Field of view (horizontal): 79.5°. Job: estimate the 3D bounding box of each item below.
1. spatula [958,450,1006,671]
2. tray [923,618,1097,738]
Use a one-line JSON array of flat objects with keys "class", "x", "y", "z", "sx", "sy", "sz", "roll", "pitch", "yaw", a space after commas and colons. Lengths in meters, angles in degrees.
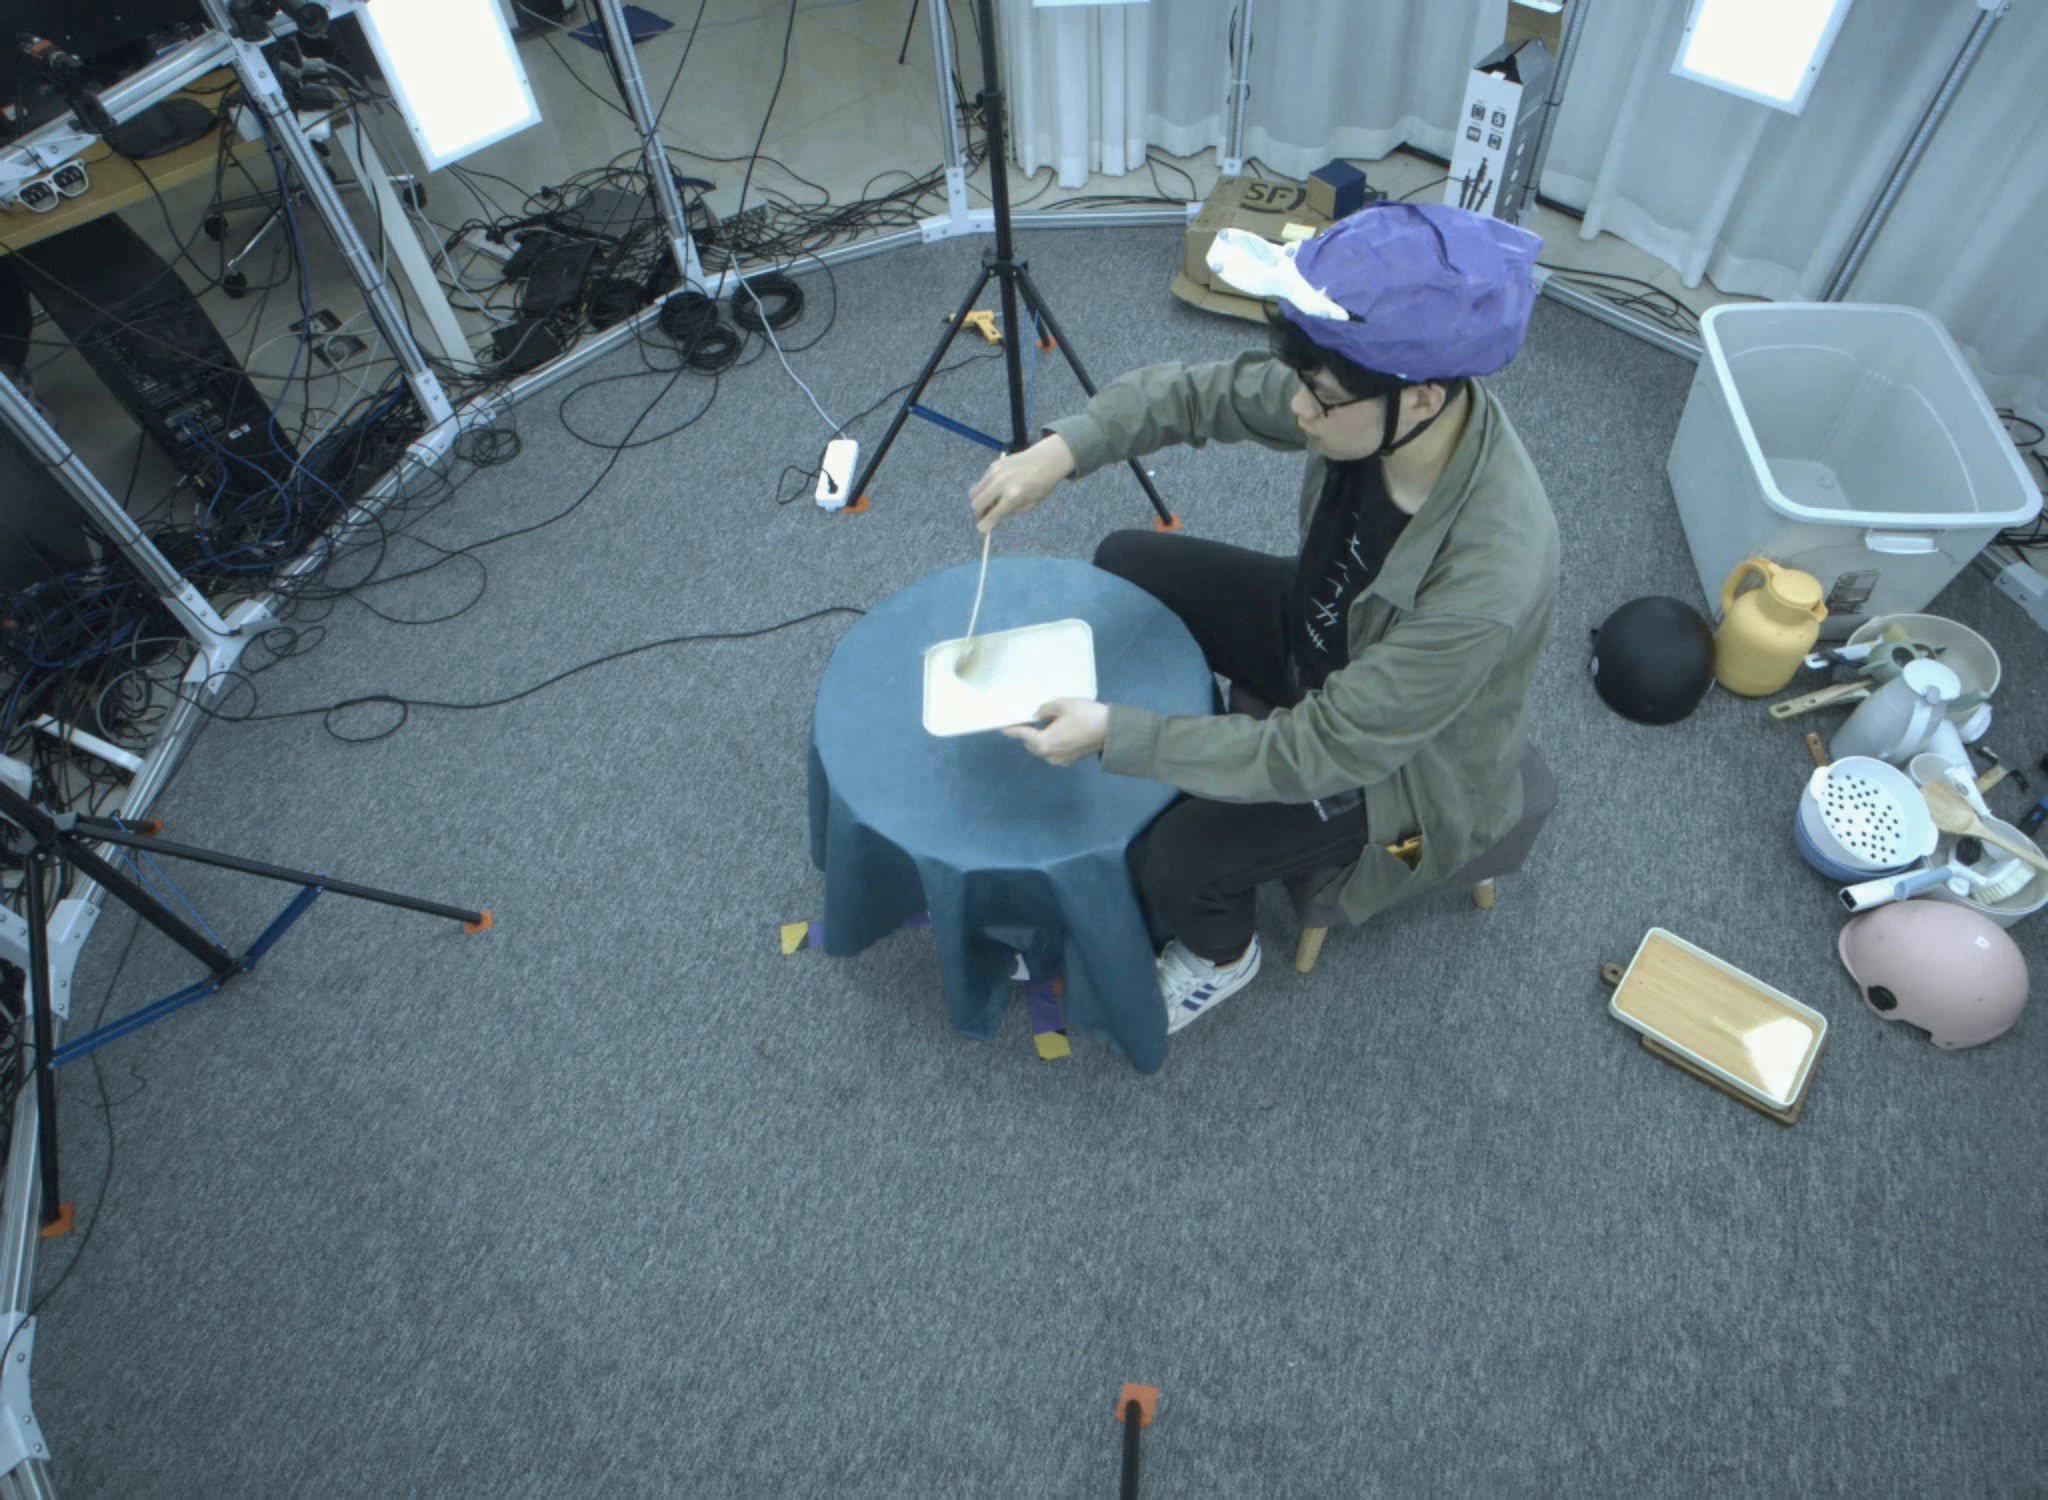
[{"class": "spatula", "x": -0.057, "y": -0.272, "z": 1.704, "sx": 0.016, "sy": 0.079, "sz": 0.326, "roll": 10, "pitch": 77, "yaw": -7}, {"class": "tray", "x": -0.020, "y": -0.097, "z": 1.677, "sx": 0.238, "sy": 0.018, "sz": 0.169, "roll": -8, "pitch": 54, "yaw": 7}]
